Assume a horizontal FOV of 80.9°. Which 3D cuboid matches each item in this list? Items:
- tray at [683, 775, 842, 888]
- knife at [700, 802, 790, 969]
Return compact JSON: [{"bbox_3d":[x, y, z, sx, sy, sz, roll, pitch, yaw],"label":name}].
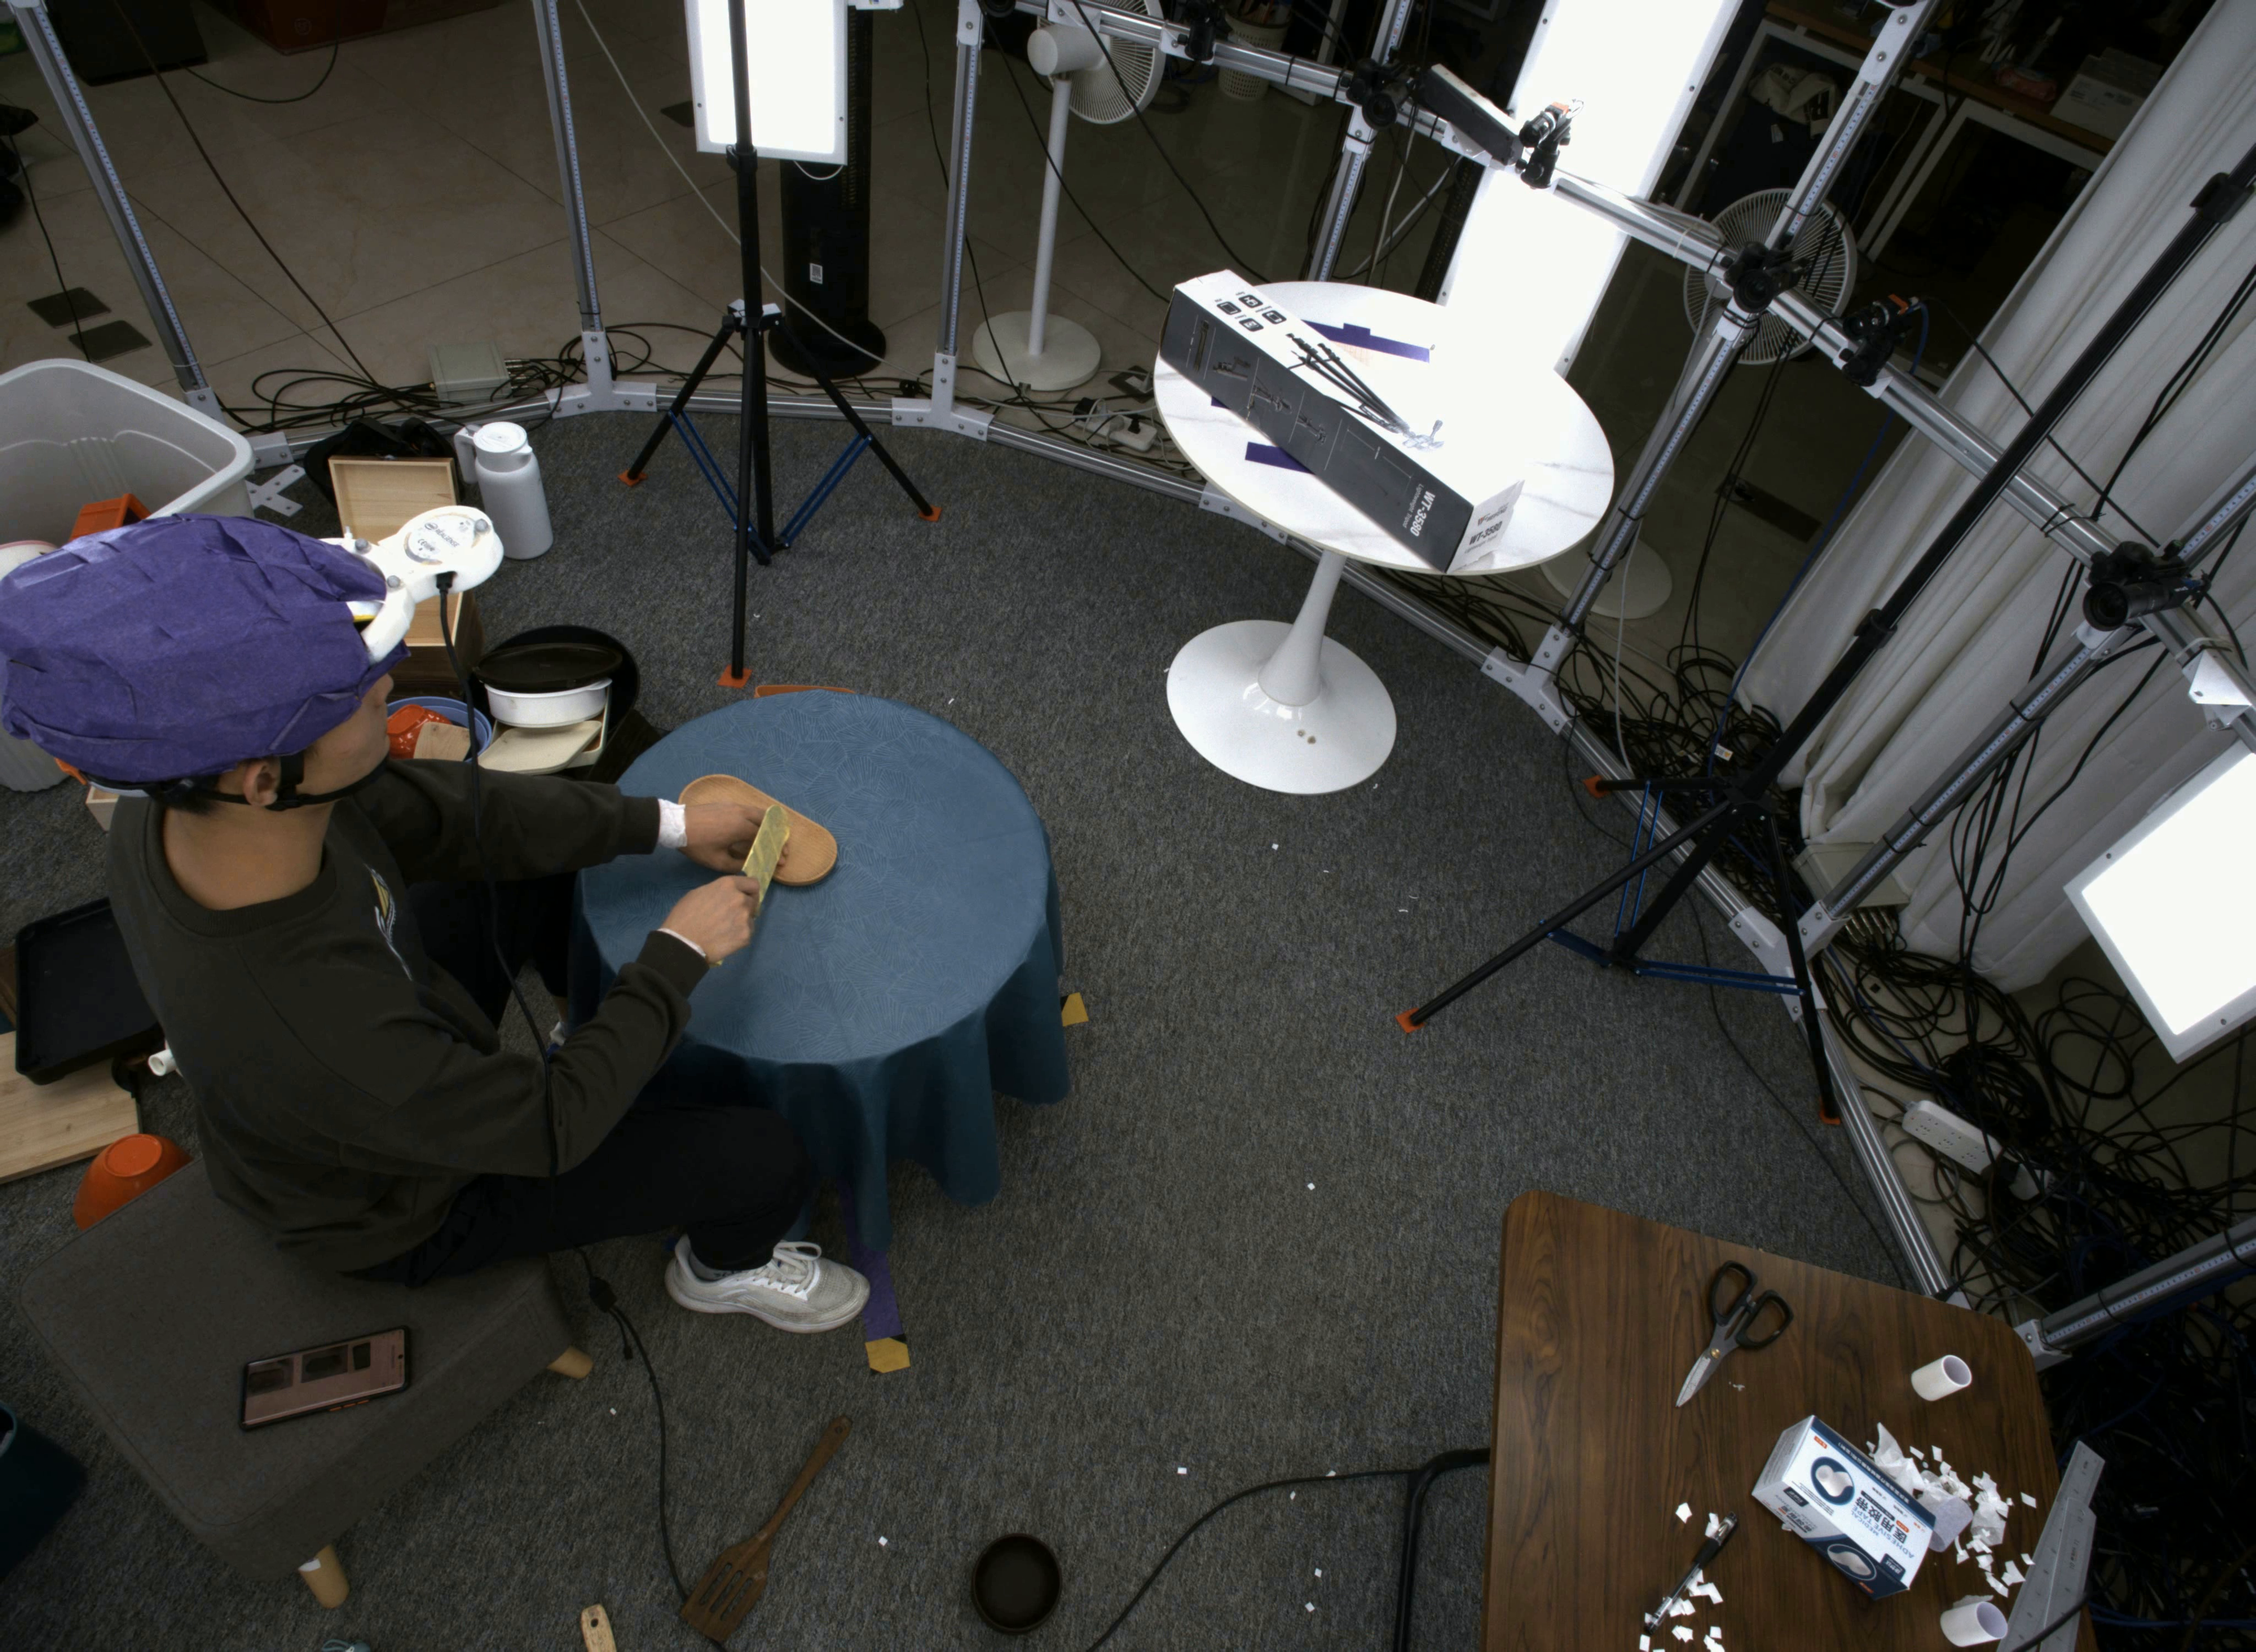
[{"bbox_3d":[-0.483,0.006,1.706,0.228,0.020,0.101,30,54,6],"label":"tray"},{"bbox_3d":[-0.457,0.070,1.571,0.027,0.084,0.284,1,41,9],"label":"knife"}]
